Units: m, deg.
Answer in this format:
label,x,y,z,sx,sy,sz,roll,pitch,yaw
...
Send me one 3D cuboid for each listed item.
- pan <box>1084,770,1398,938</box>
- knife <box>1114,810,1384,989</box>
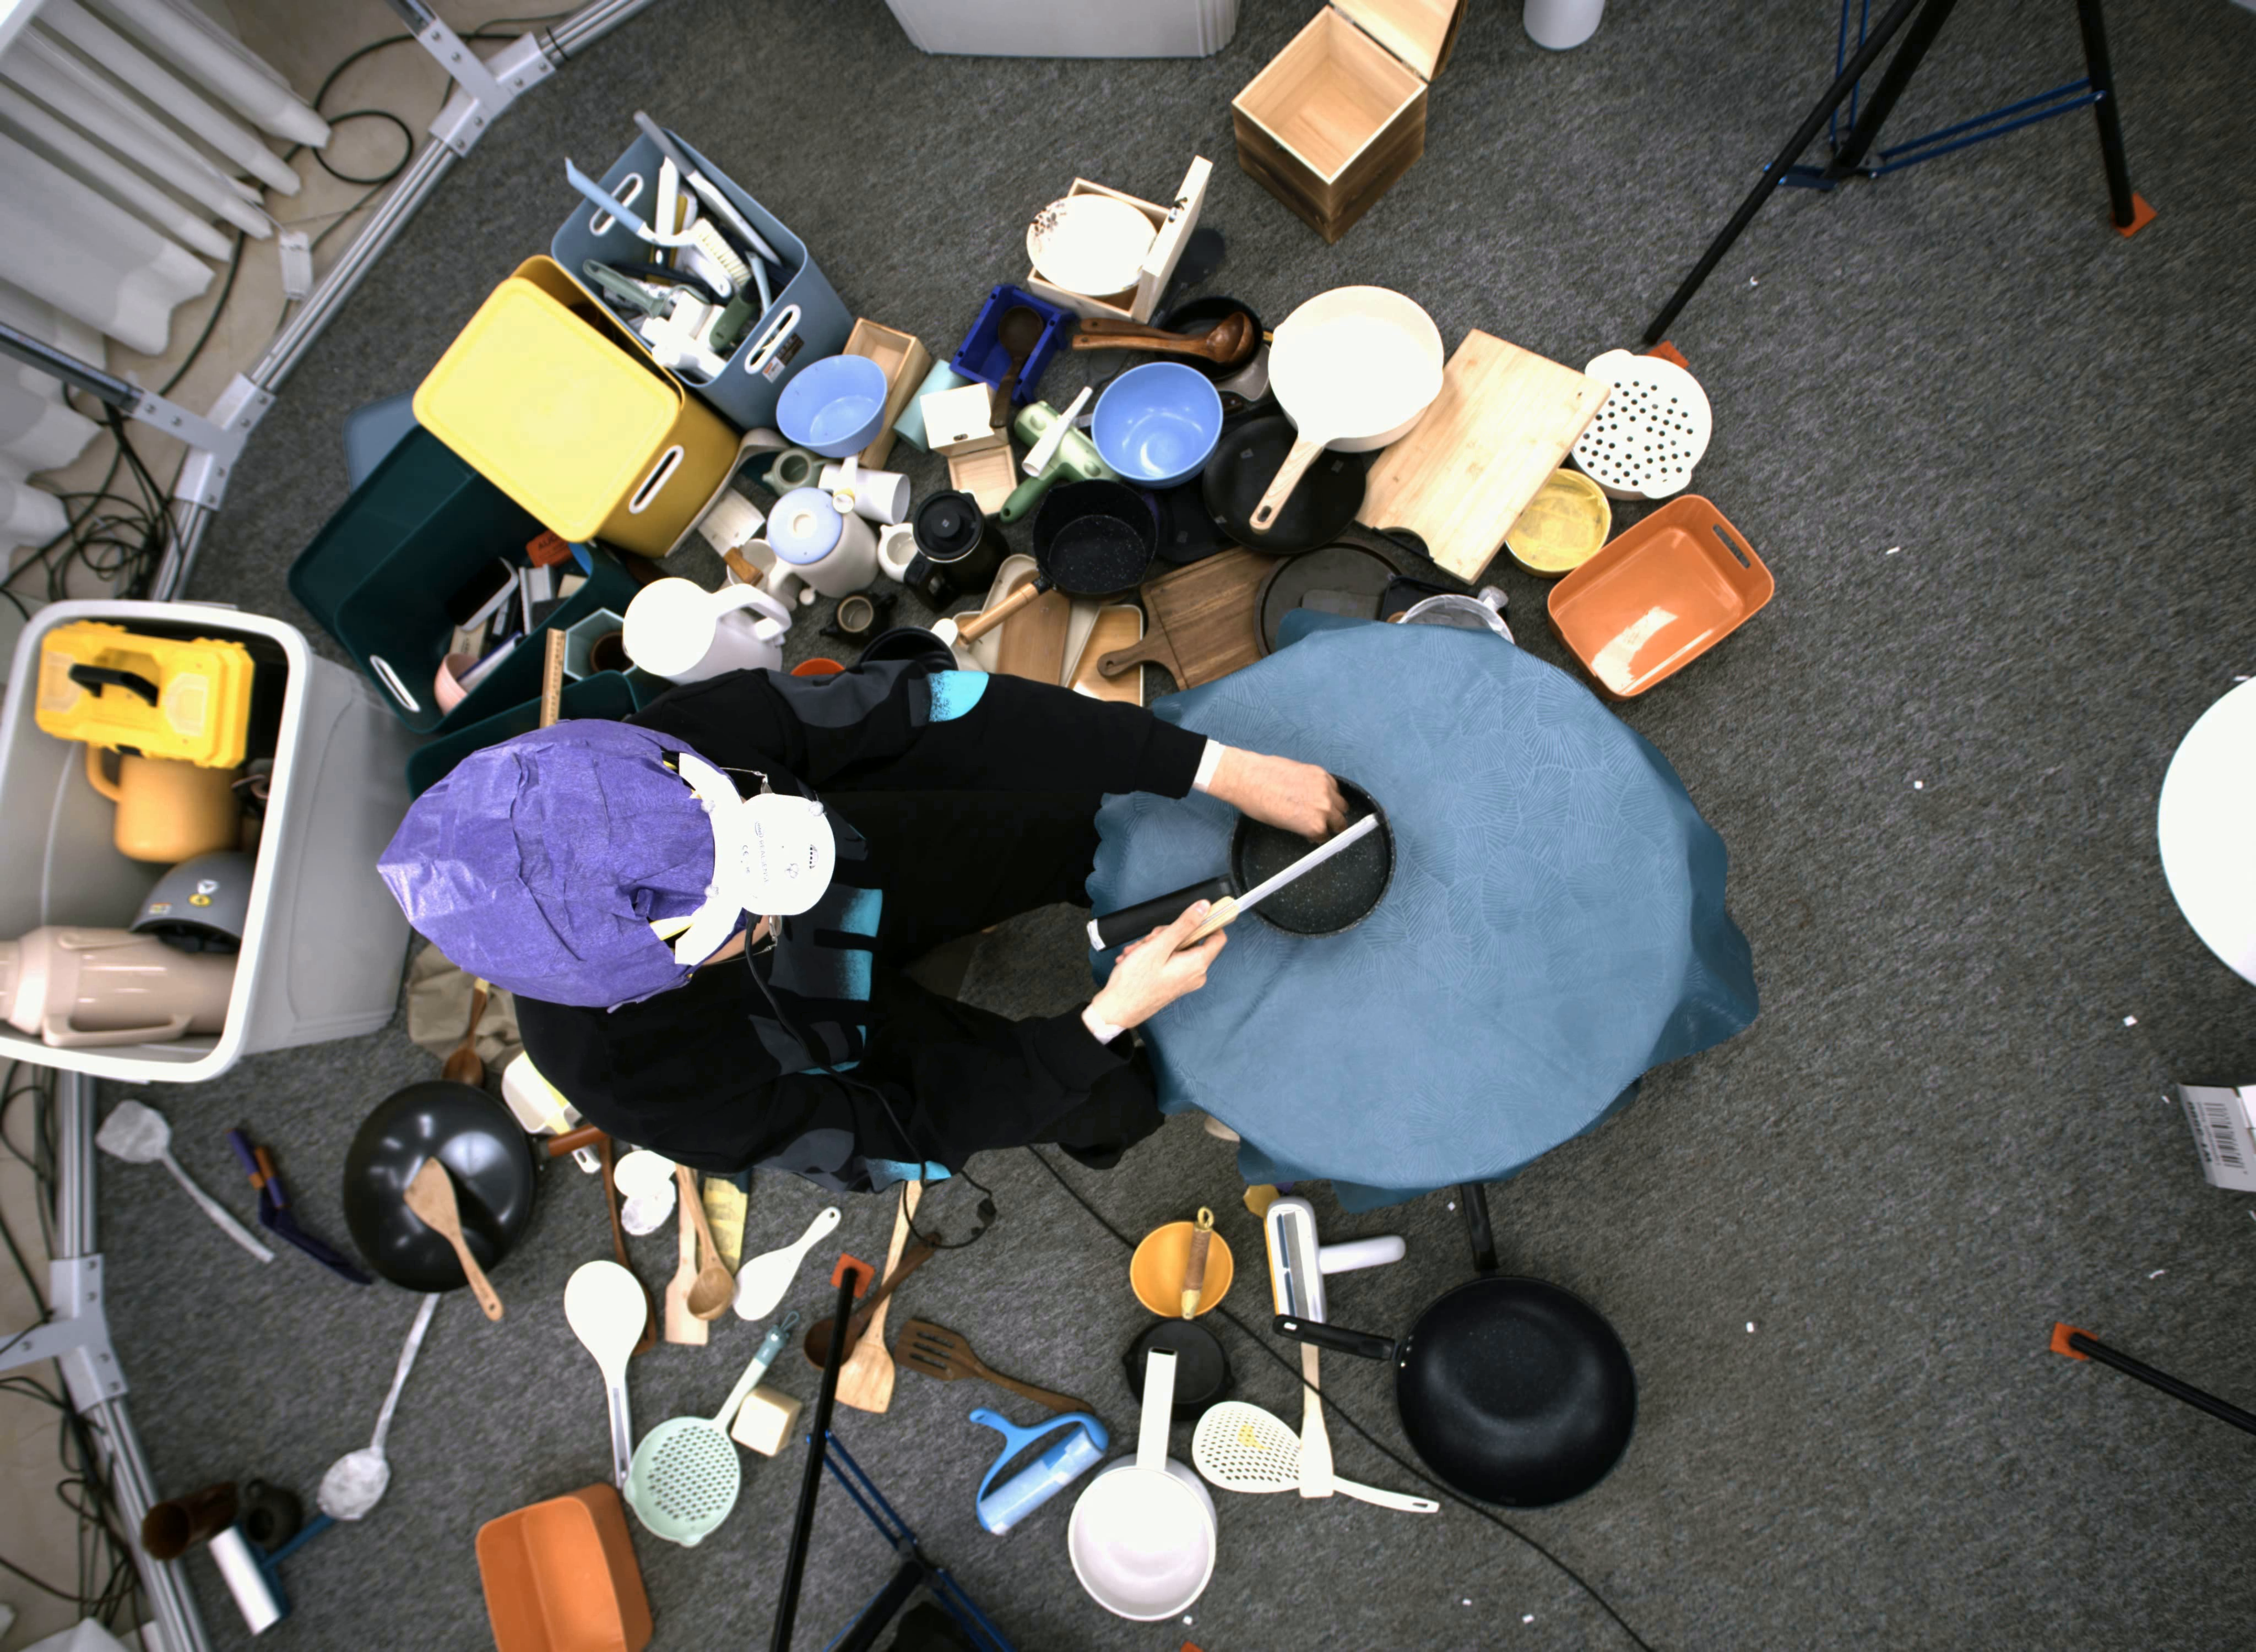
label,x,y,z,sx,sy,sz,roll,pitch,yaw
pan,0.118,0.057,1.446,0.330,0.087,0.170,-18,81,8
knife,0.123,0.067,1.342,0.314,0.115,0.021,-31,78,-6
